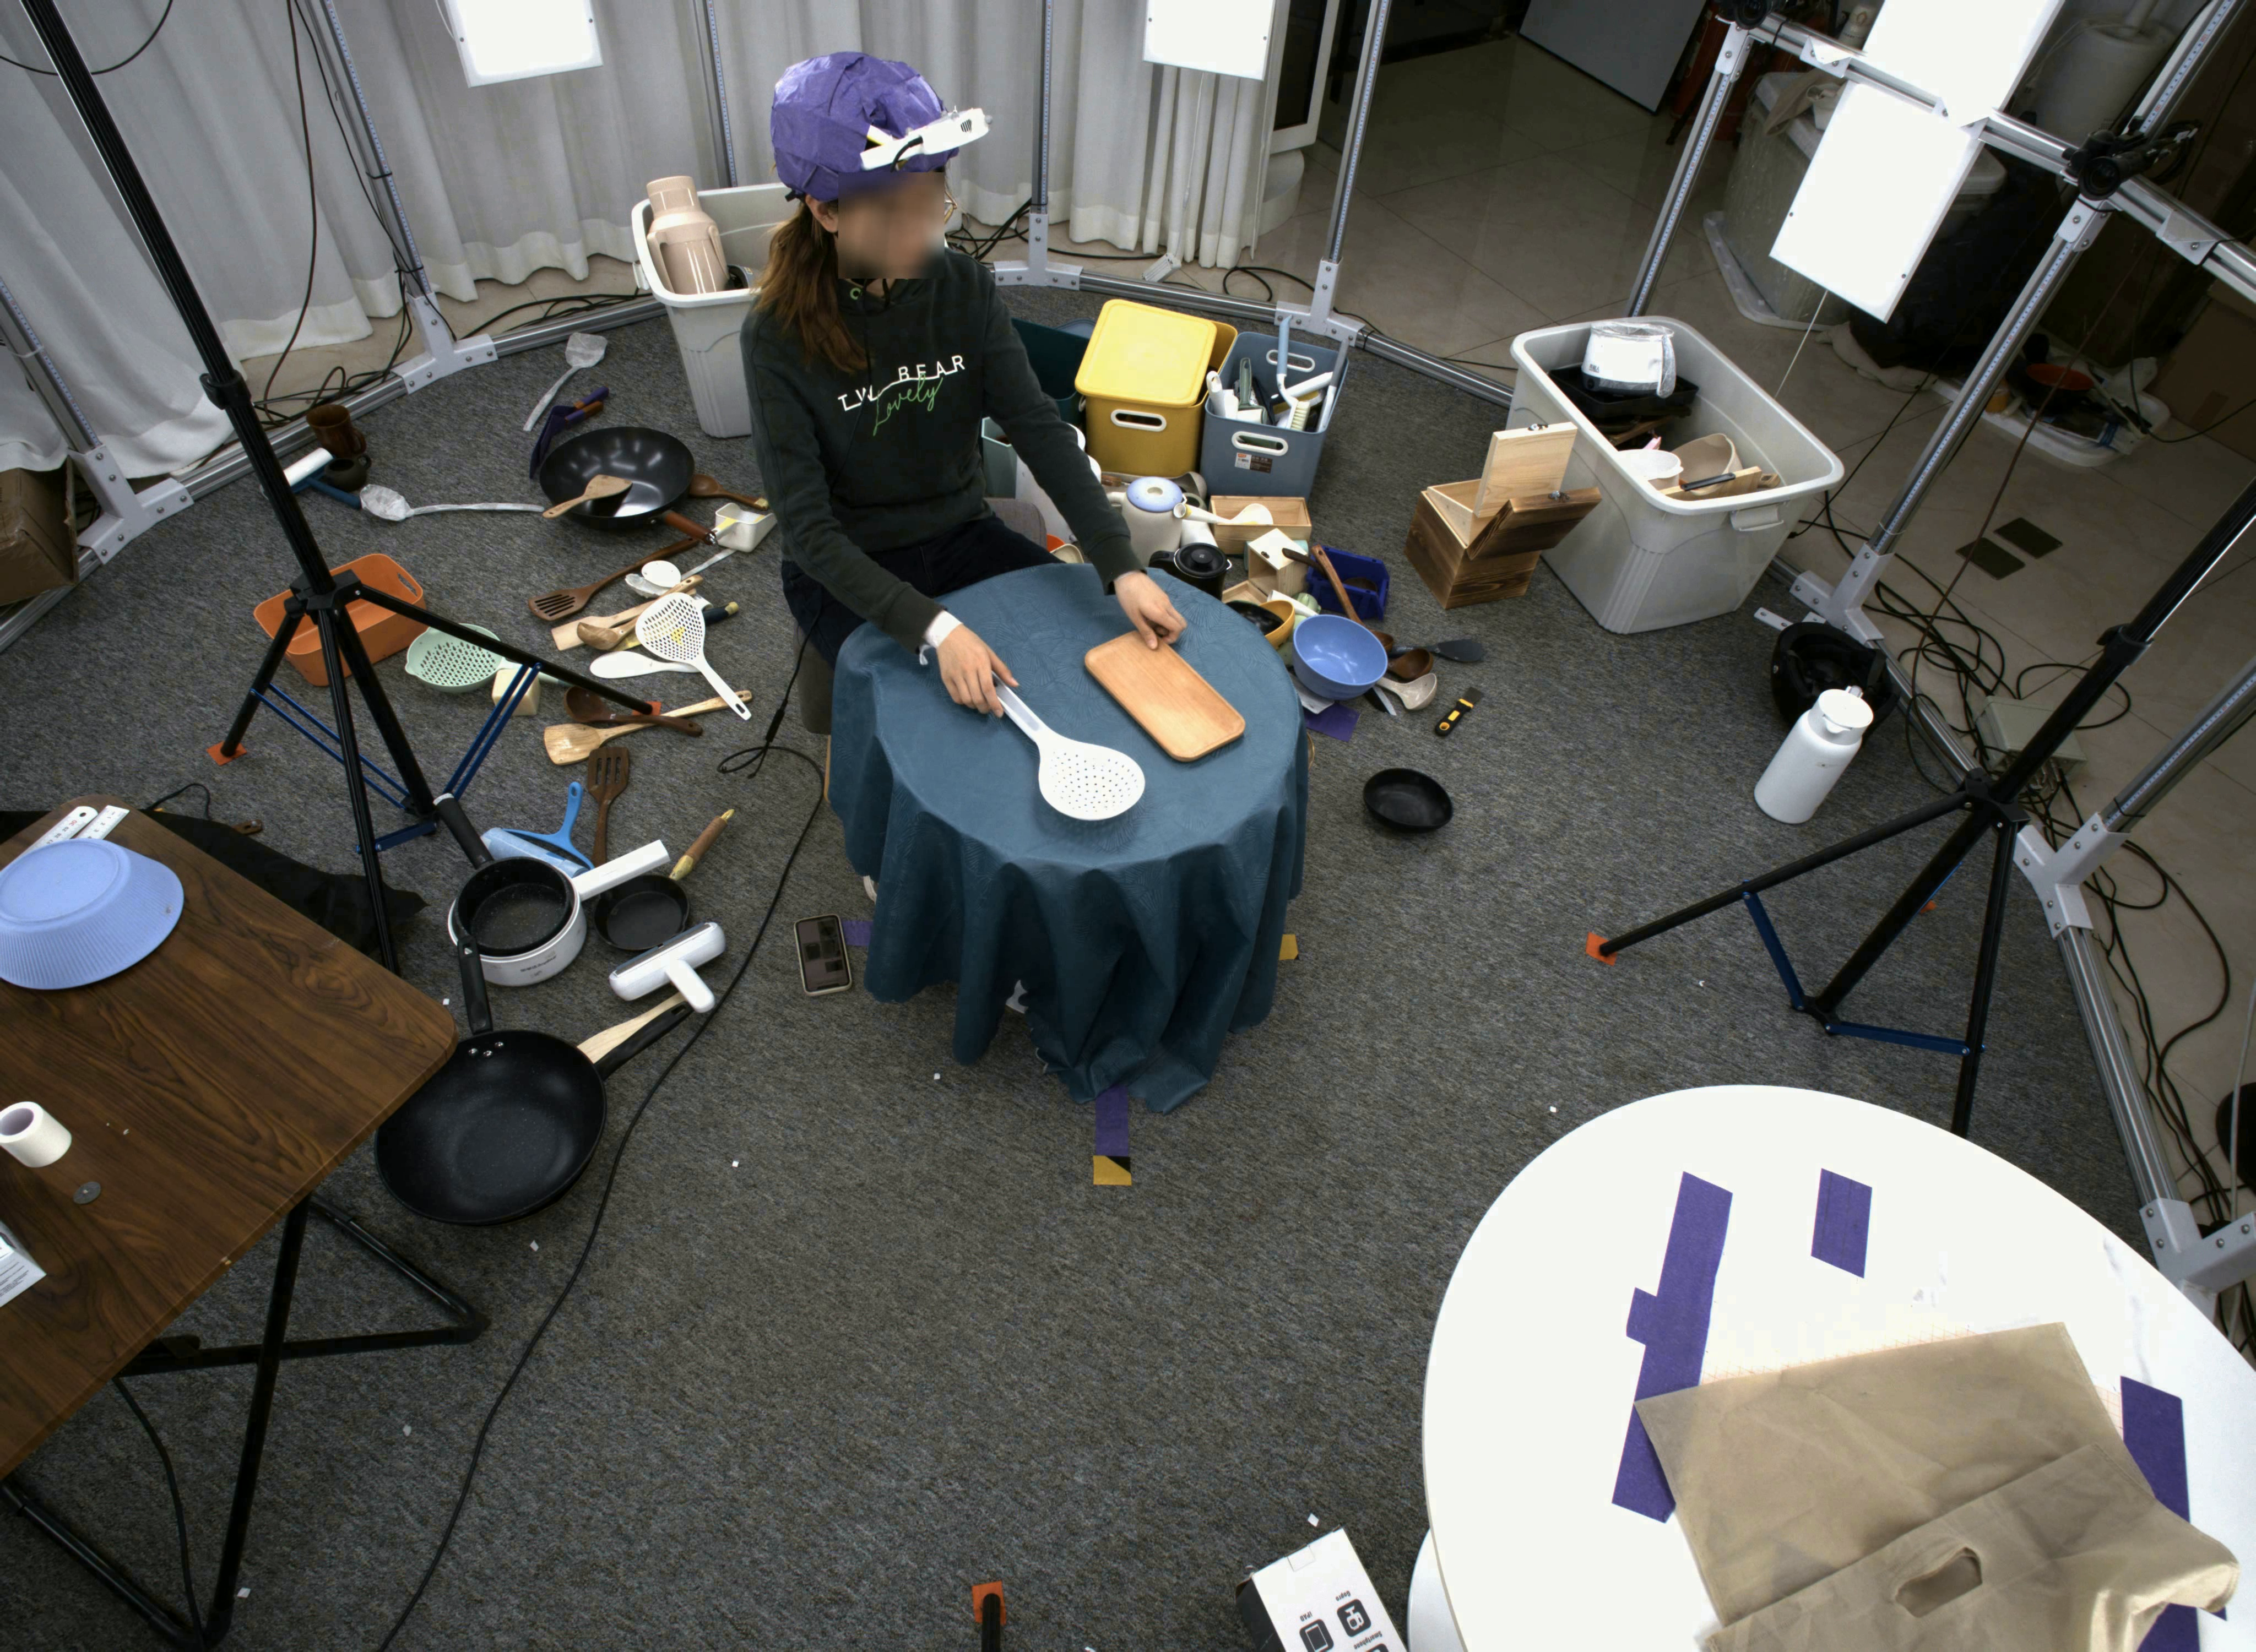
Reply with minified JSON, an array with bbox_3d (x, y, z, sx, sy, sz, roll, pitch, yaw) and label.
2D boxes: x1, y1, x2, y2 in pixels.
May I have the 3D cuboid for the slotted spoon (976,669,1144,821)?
[{"bbox_3d":[-0.109,-0.116,1.748,0.136,0.044,0.356,-24,54,-25],"label":"slotted spoon"}]

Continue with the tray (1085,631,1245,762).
[{"bbox_3d":[0.051,-0.188,1.841,0.131,0.022,0.255,-25,54,-25],"label":"tray"}]
